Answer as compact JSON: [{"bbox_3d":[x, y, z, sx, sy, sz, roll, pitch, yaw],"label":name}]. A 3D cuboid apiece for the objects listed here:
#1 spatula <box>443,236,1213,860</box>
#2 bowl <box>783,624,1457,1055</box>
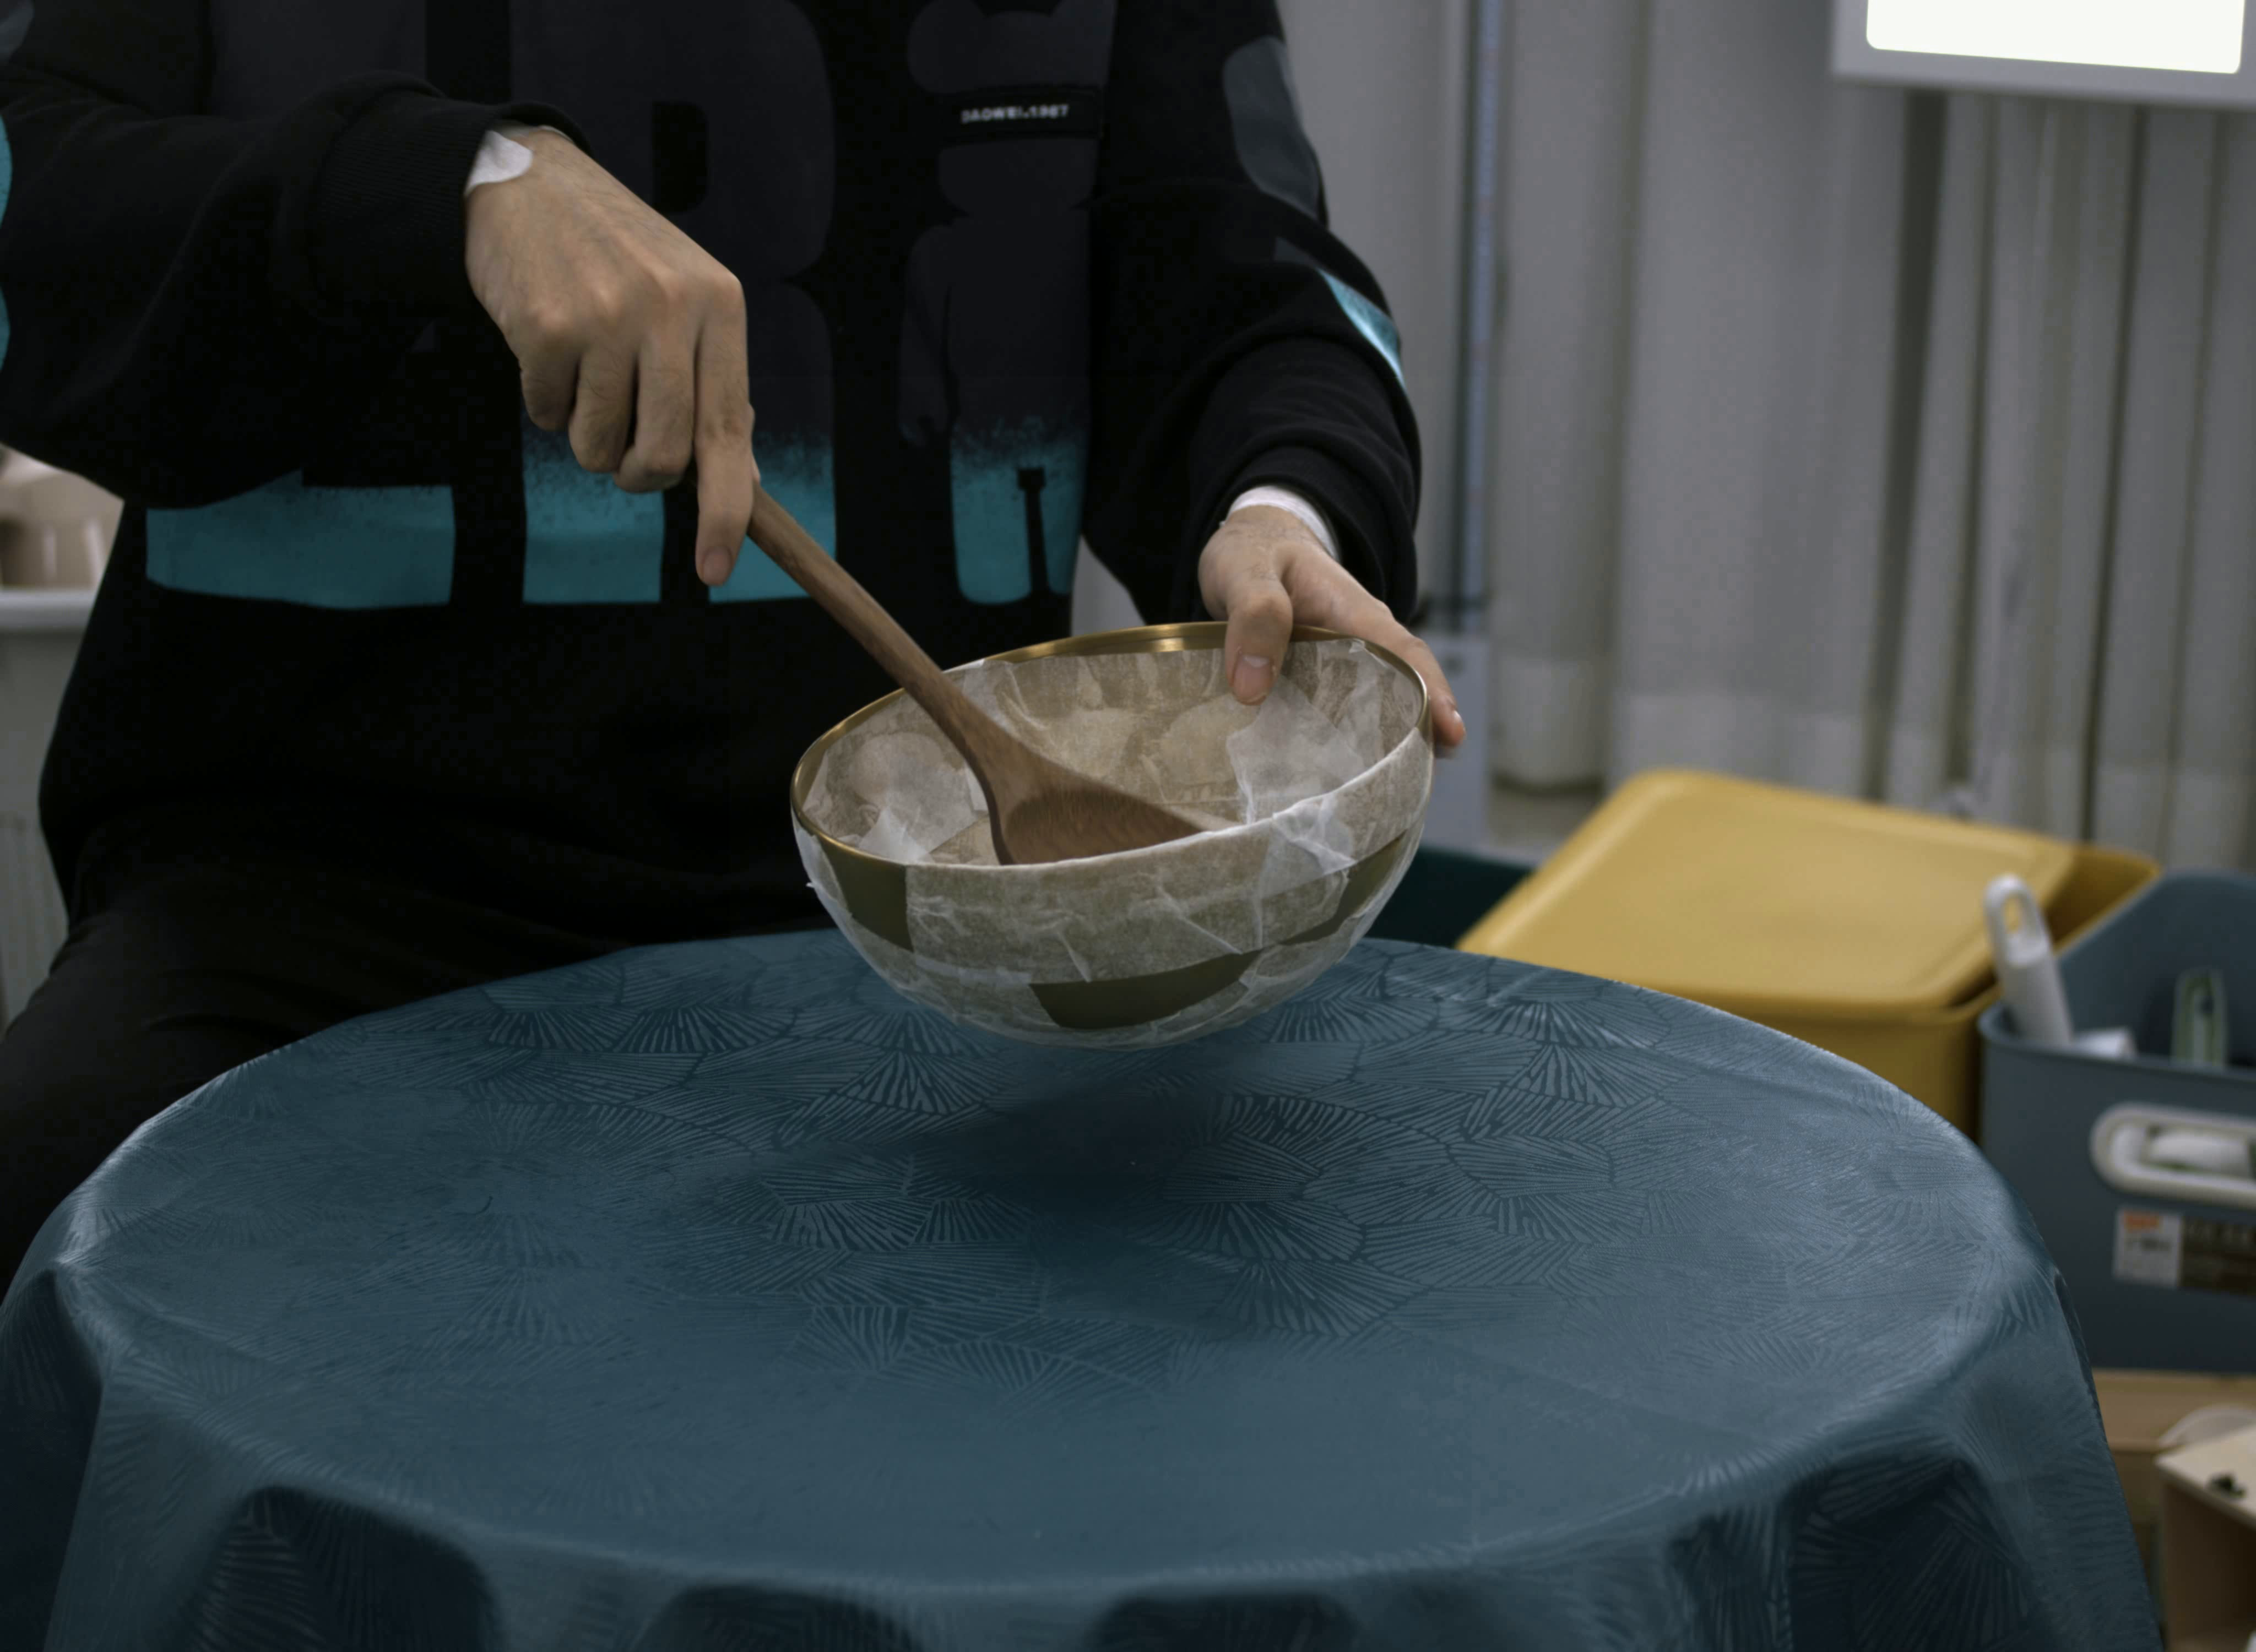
[{"bbox_3d":[-0.093,-0.076,1.658,0.382,0.016,0.096,43,33,23],"label":"spatula"},{"bbox_3d":[0.003,0.013,1.631,0.214,0.095,0.213,-9,20,4],"label":"bowl"}]
